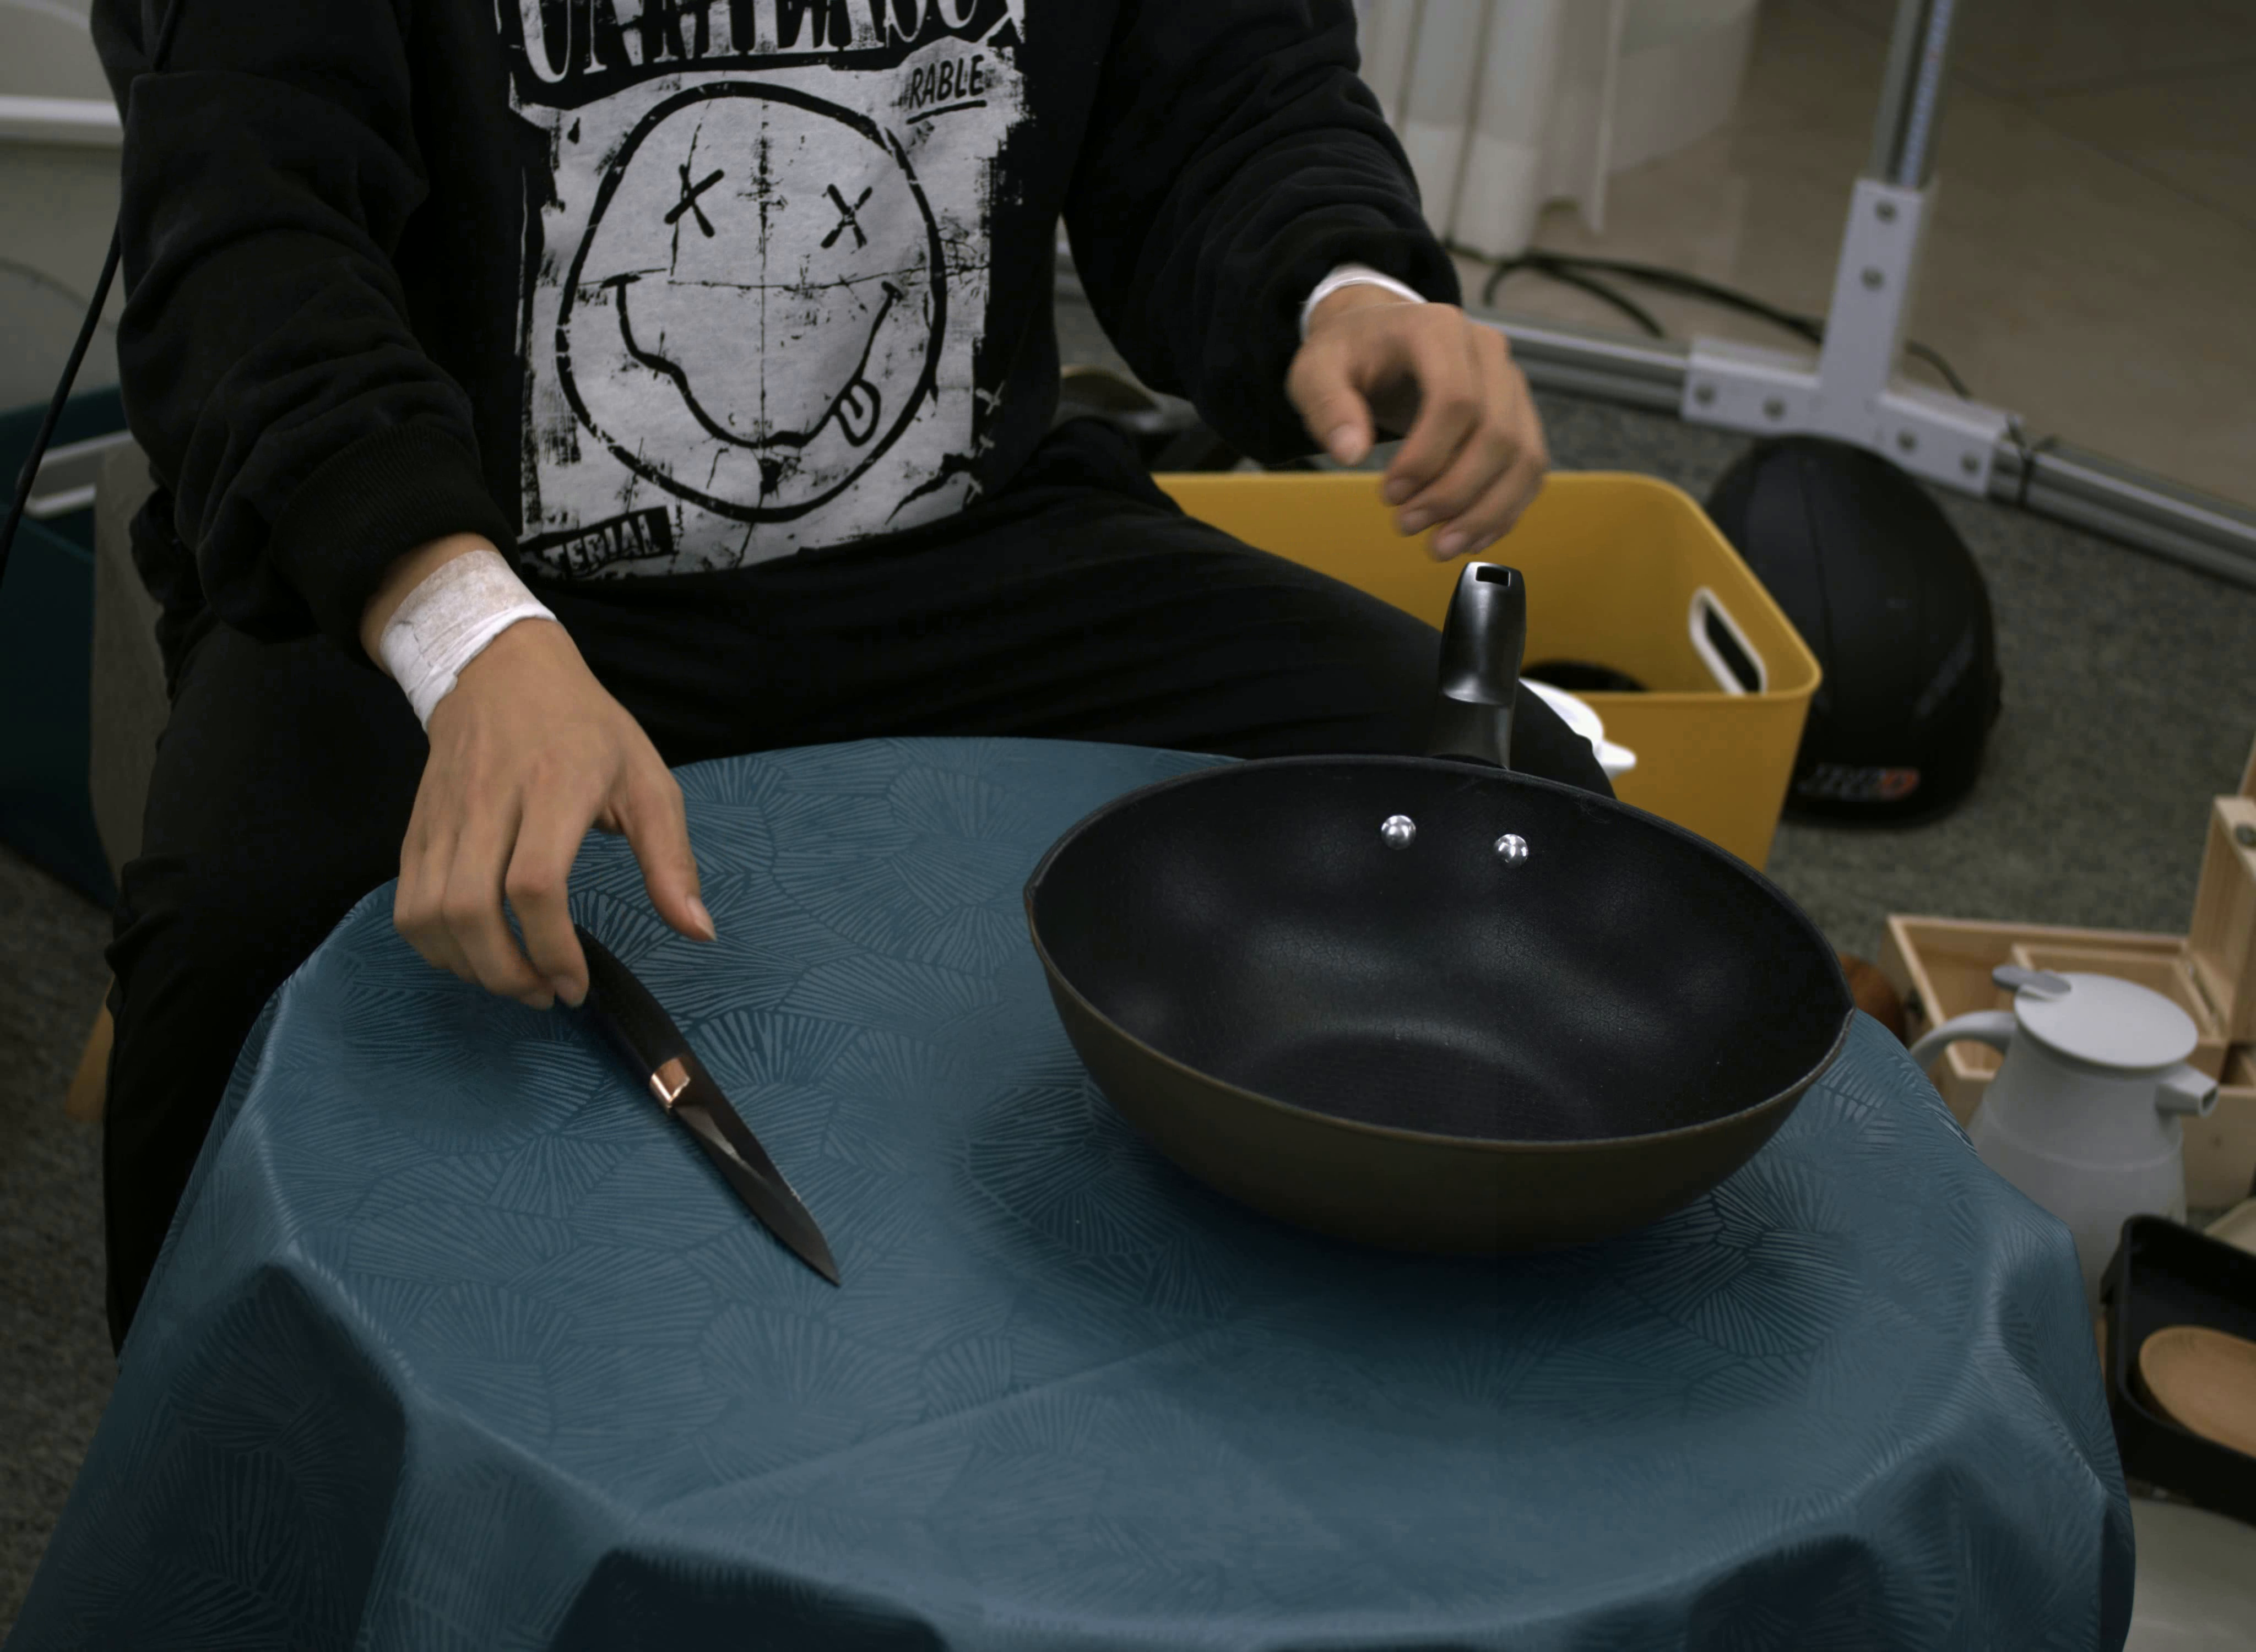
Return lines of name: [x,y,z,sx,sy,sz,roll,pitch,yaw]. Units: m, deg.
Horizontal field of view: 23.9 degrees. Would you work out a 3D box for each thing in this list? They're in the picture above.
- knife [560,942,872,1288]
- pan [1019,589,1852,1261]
knife: [-0.143,0.097,1.816,0.026,0.017,0.227,7,23,-35]
pan: [0.112,0.035,1.916,0.287,0.086,0.465,9,26,4]
